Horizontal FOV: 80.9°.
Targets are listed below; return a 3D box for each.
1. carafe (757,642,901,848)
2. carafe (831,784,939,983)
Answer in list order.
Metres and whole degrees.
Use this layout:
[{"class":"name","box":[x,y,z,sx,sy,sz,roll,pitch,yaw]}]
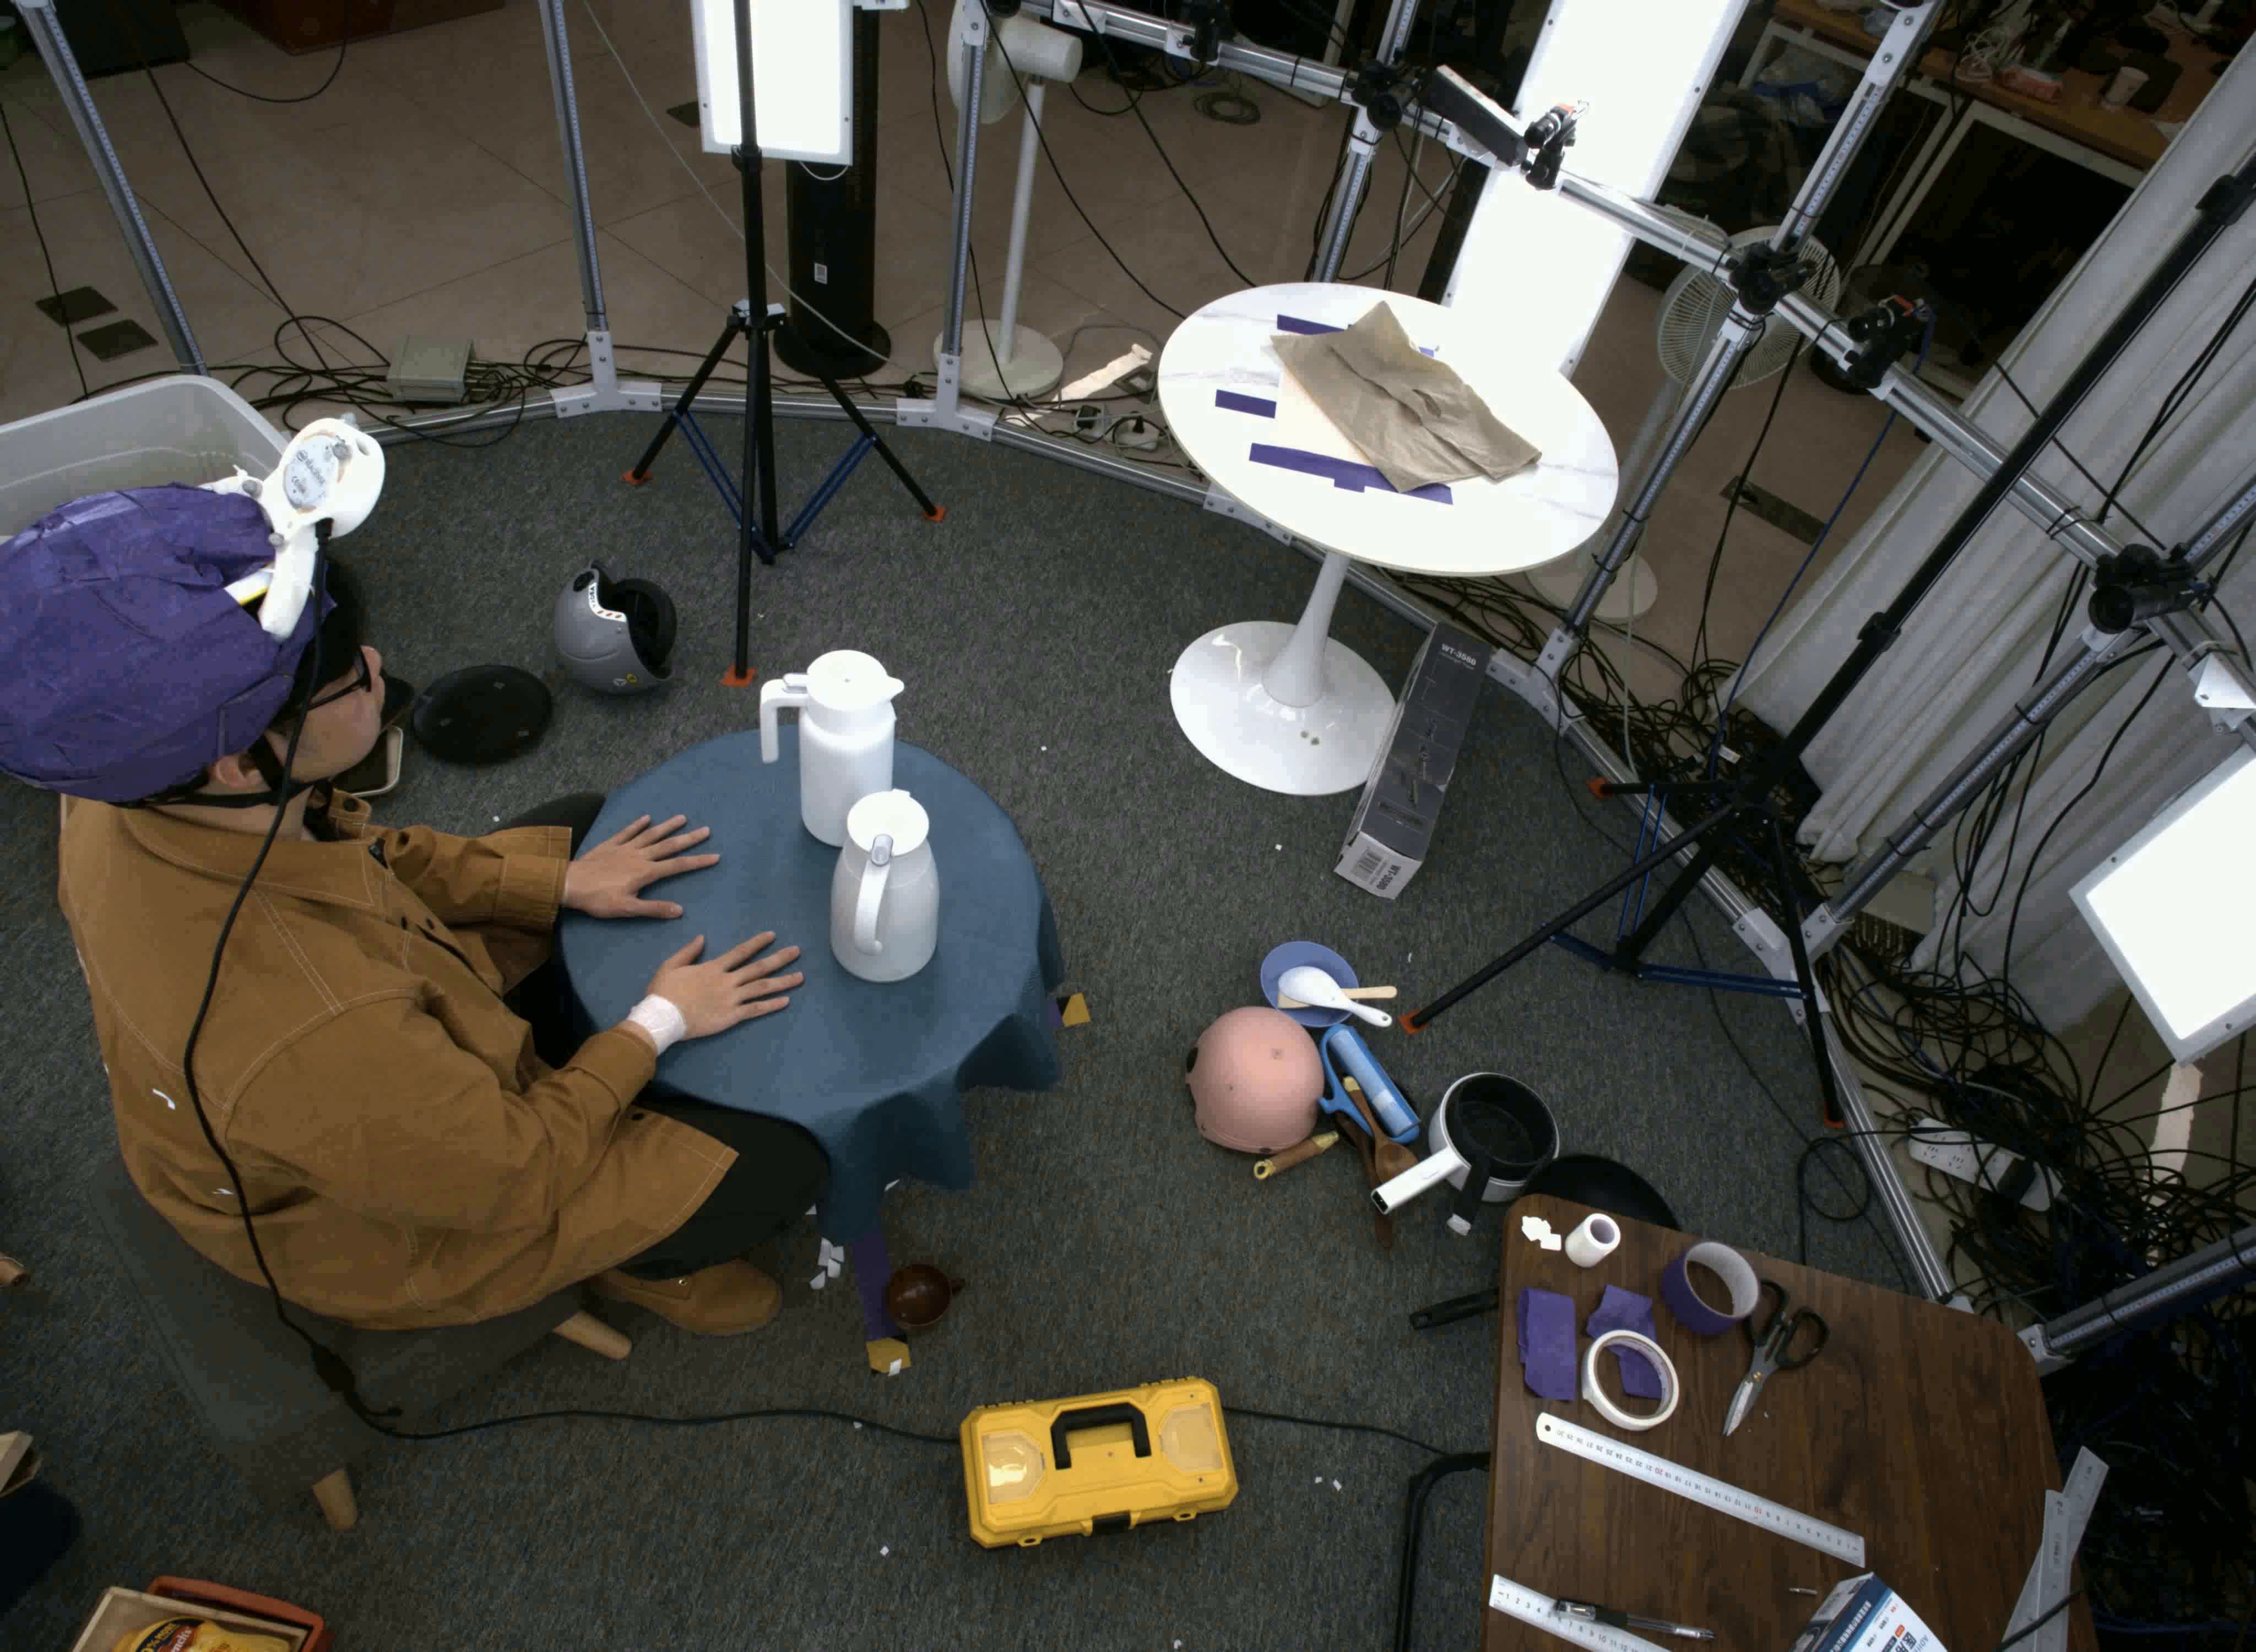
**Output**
[{"class":"carafe","box":[-0.375,-0.097,1.634,0.173,0.274,0.121,-2,55,-13]},{"class":"carafe","box":[-0.291,0.078,1.536,0.132,0.254,0.165,11,52,-3]}]
